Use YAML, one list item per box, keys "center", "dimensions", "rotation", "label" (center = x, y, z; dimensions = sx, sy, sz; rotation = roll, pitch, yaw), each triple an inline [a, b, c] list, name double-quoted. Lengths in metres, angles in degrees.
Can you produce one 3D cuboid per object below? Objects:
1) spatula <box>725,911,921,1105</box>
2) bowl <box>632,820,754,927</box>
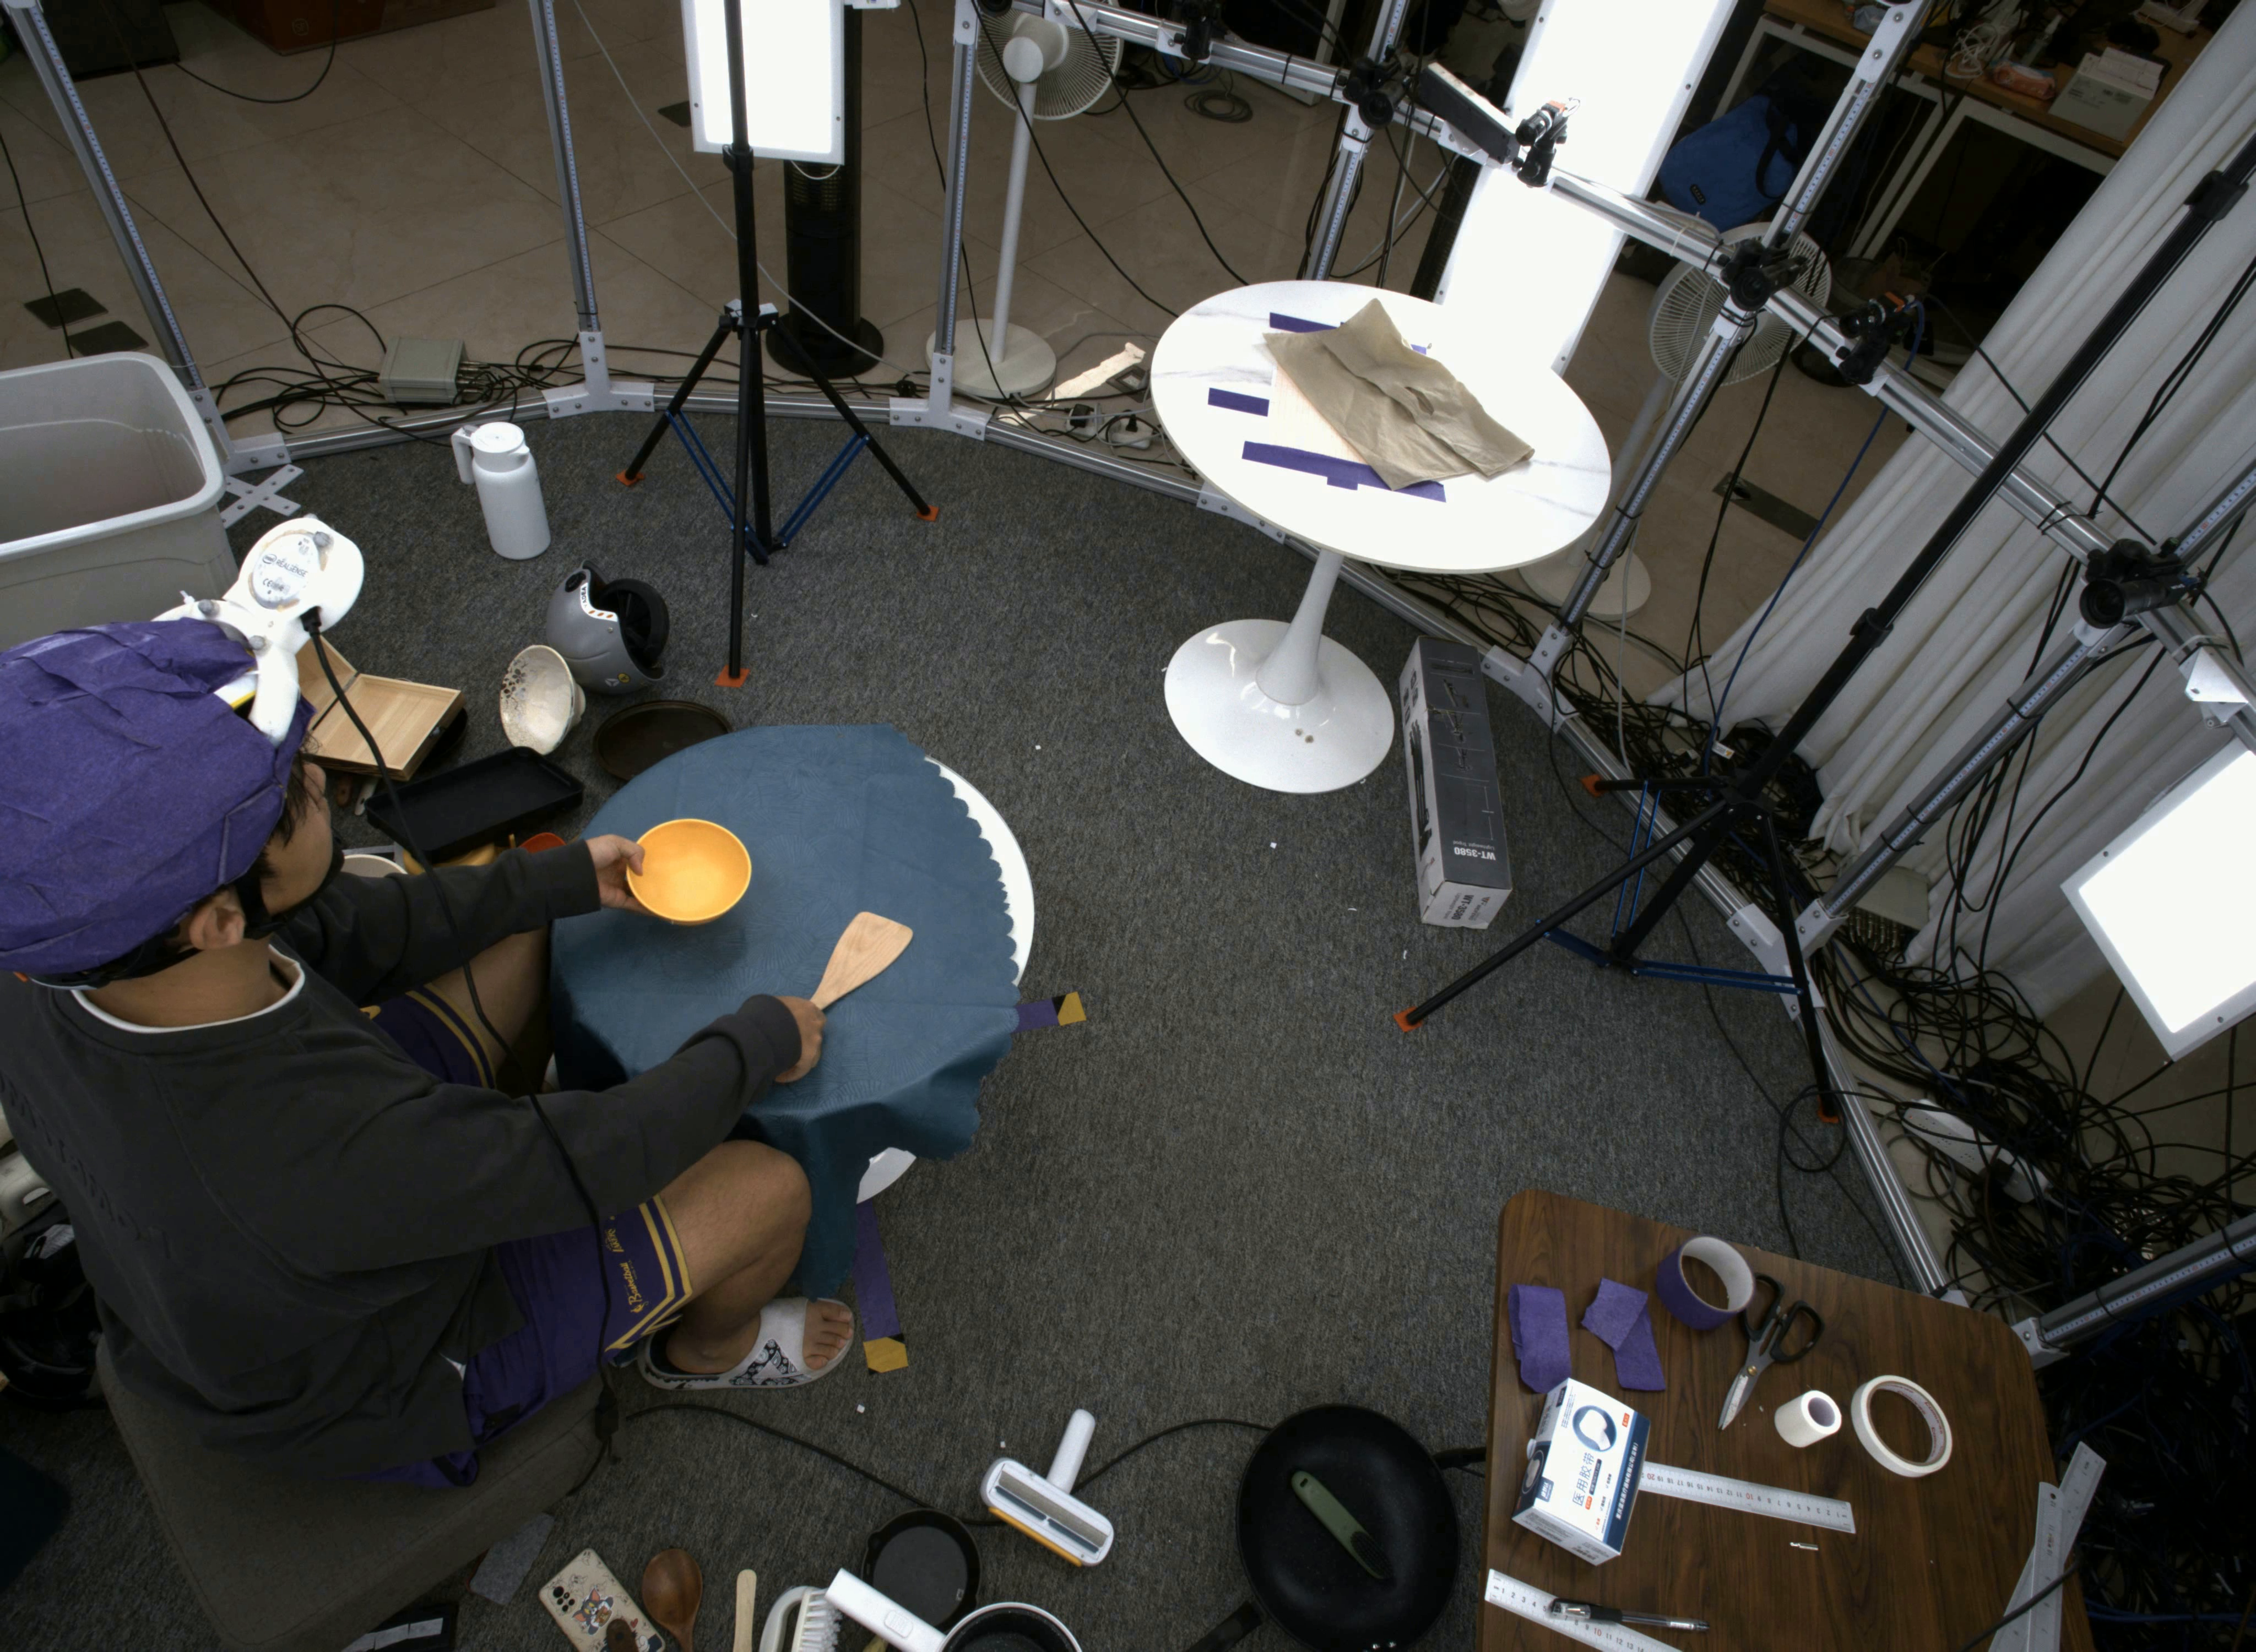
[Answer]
- center: [-0.373, 0.212, 1.565]
  dimensions: [0.078, 0.017, 0.326]
  rotation: [31, 47, 10]
  label: "spatula"
- center: [-0.531, 0.067, 1.569]
  dimensions: [0.146, 0.061, 0.143]
  rotation: [12, 53, -14]
  label: "bowl"
